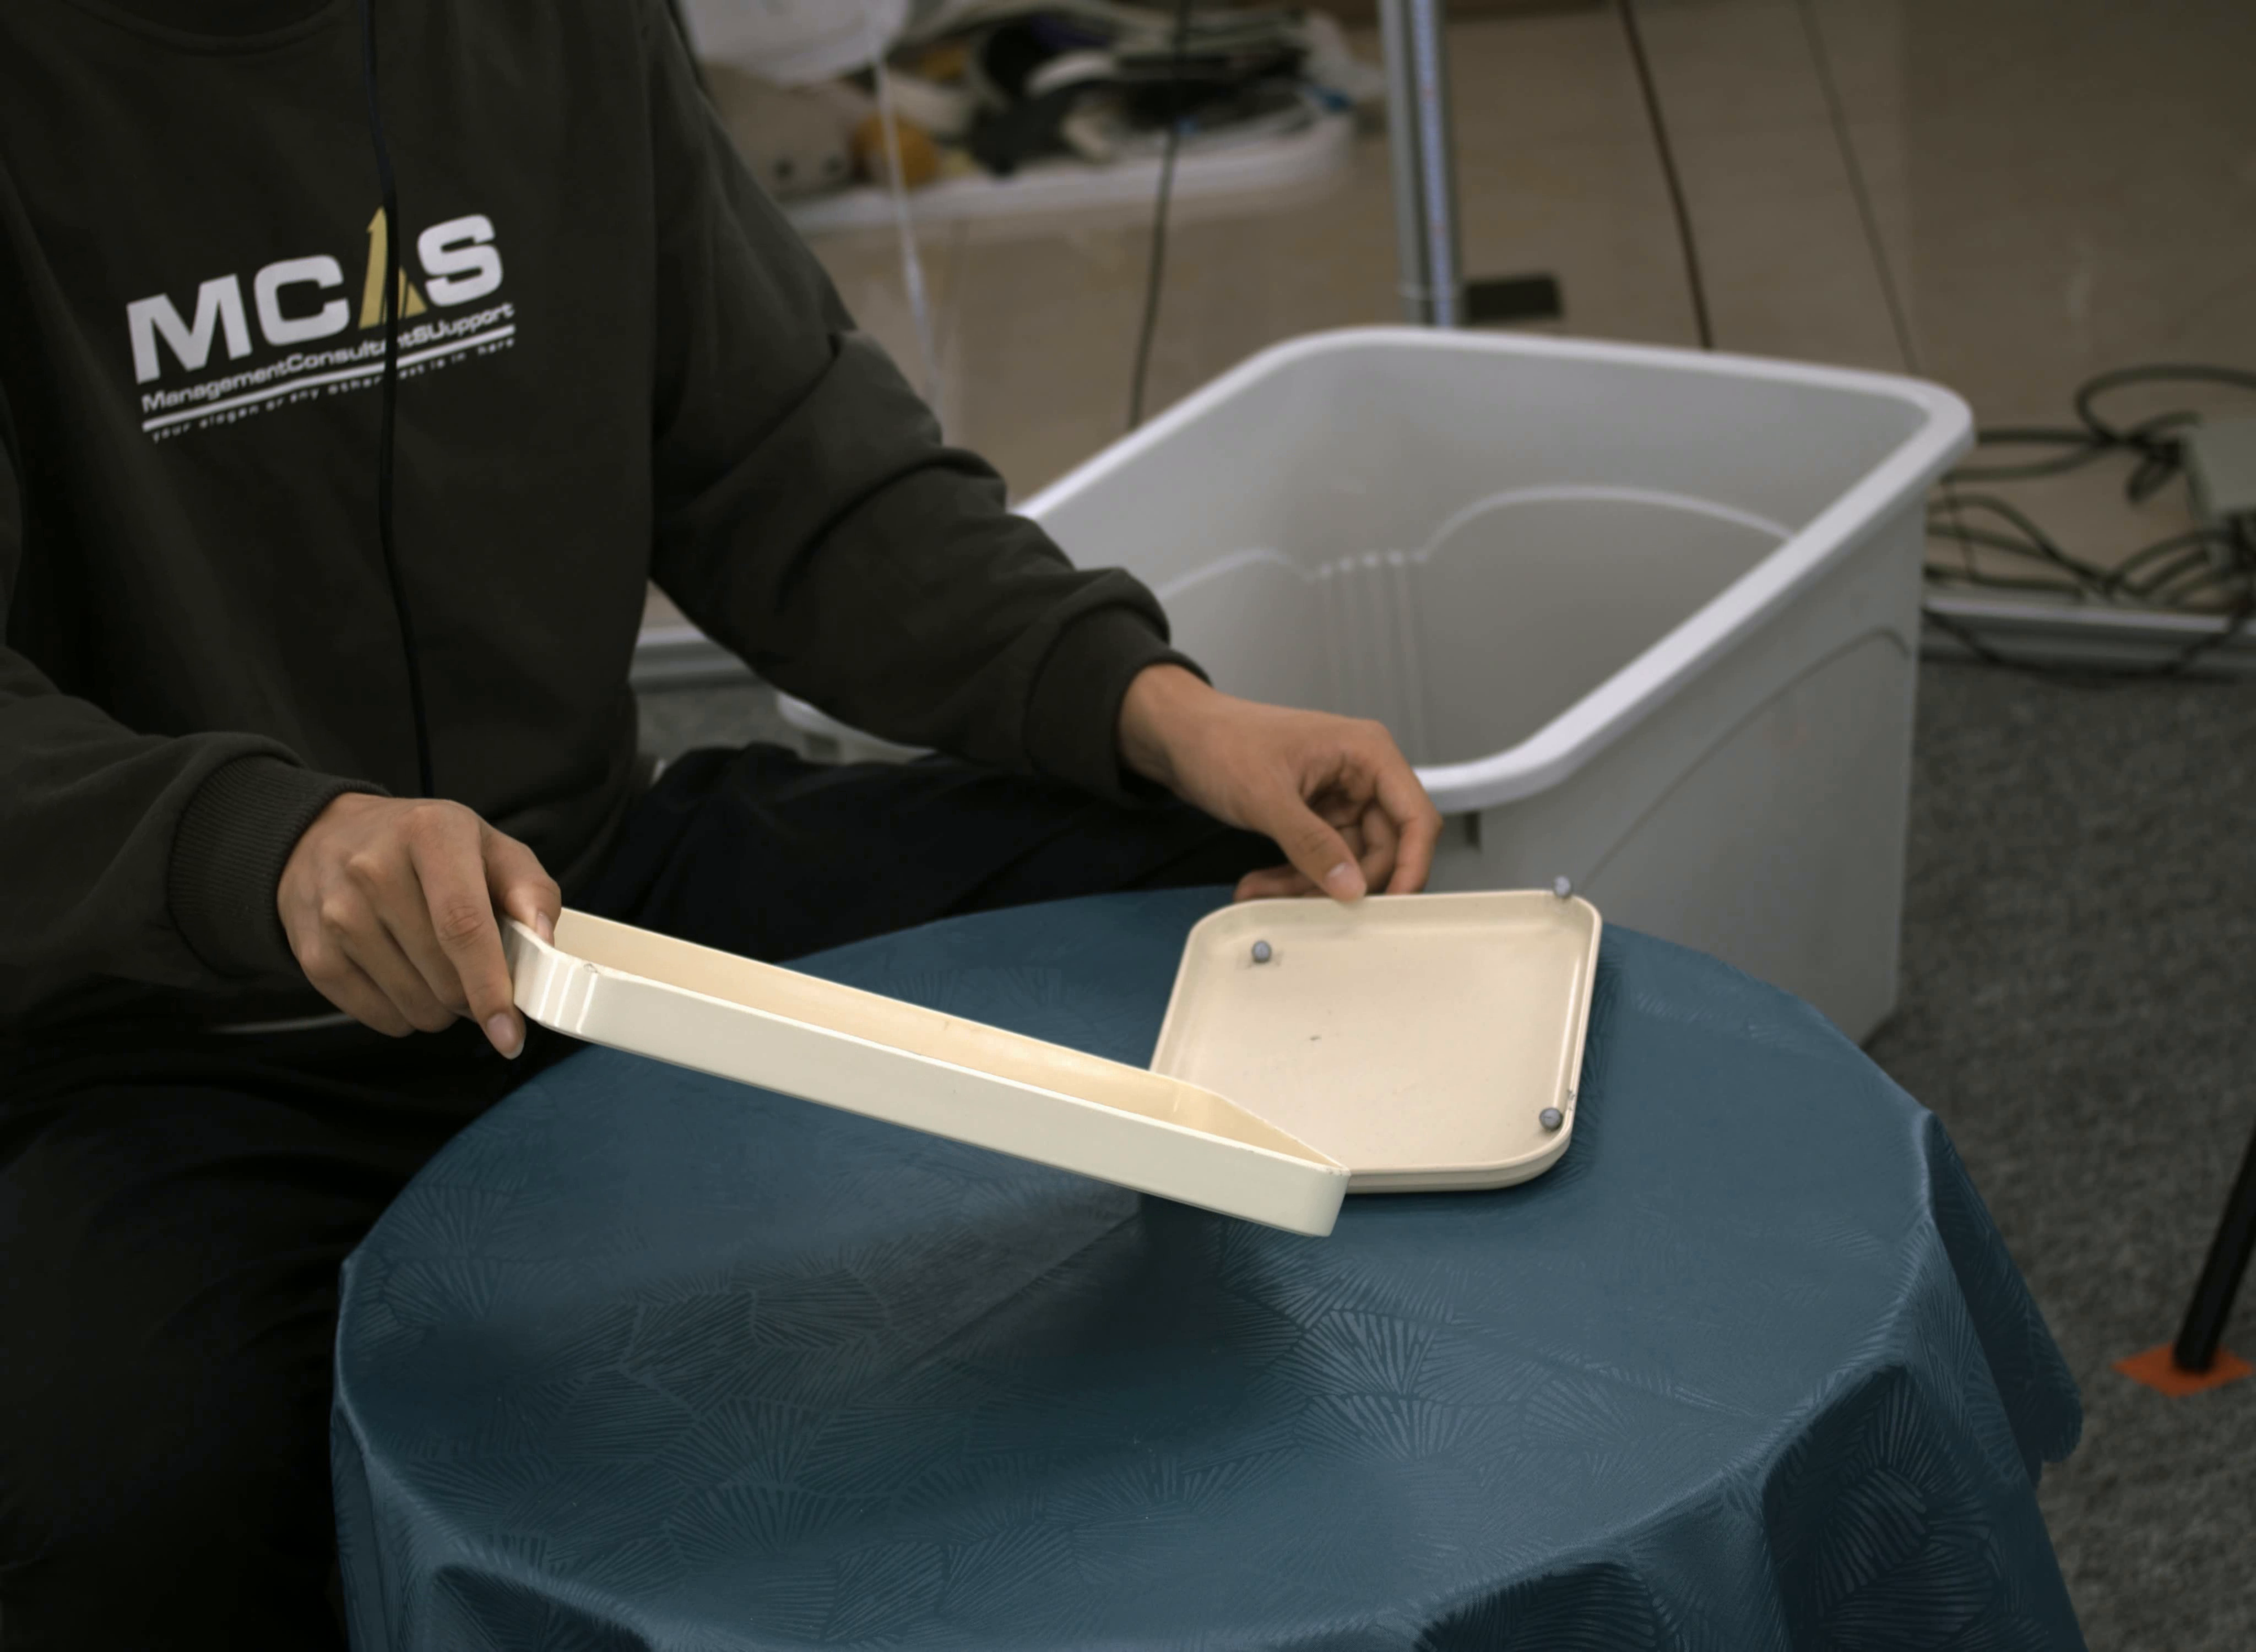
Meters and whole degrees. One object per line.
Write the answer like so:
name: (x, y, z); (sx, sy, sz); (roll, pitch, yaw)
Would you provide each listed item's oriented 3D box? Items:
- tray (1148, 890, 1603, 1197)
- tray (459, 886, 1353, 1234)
tray: (0.097, 0.085, 2.220); (0.171, 0.018, 0.236); (-3, 25, 10)
tray: (-0.083, 0.084, 2.027); (0.301, 0.027, 0.190); (17, 2, -18)
